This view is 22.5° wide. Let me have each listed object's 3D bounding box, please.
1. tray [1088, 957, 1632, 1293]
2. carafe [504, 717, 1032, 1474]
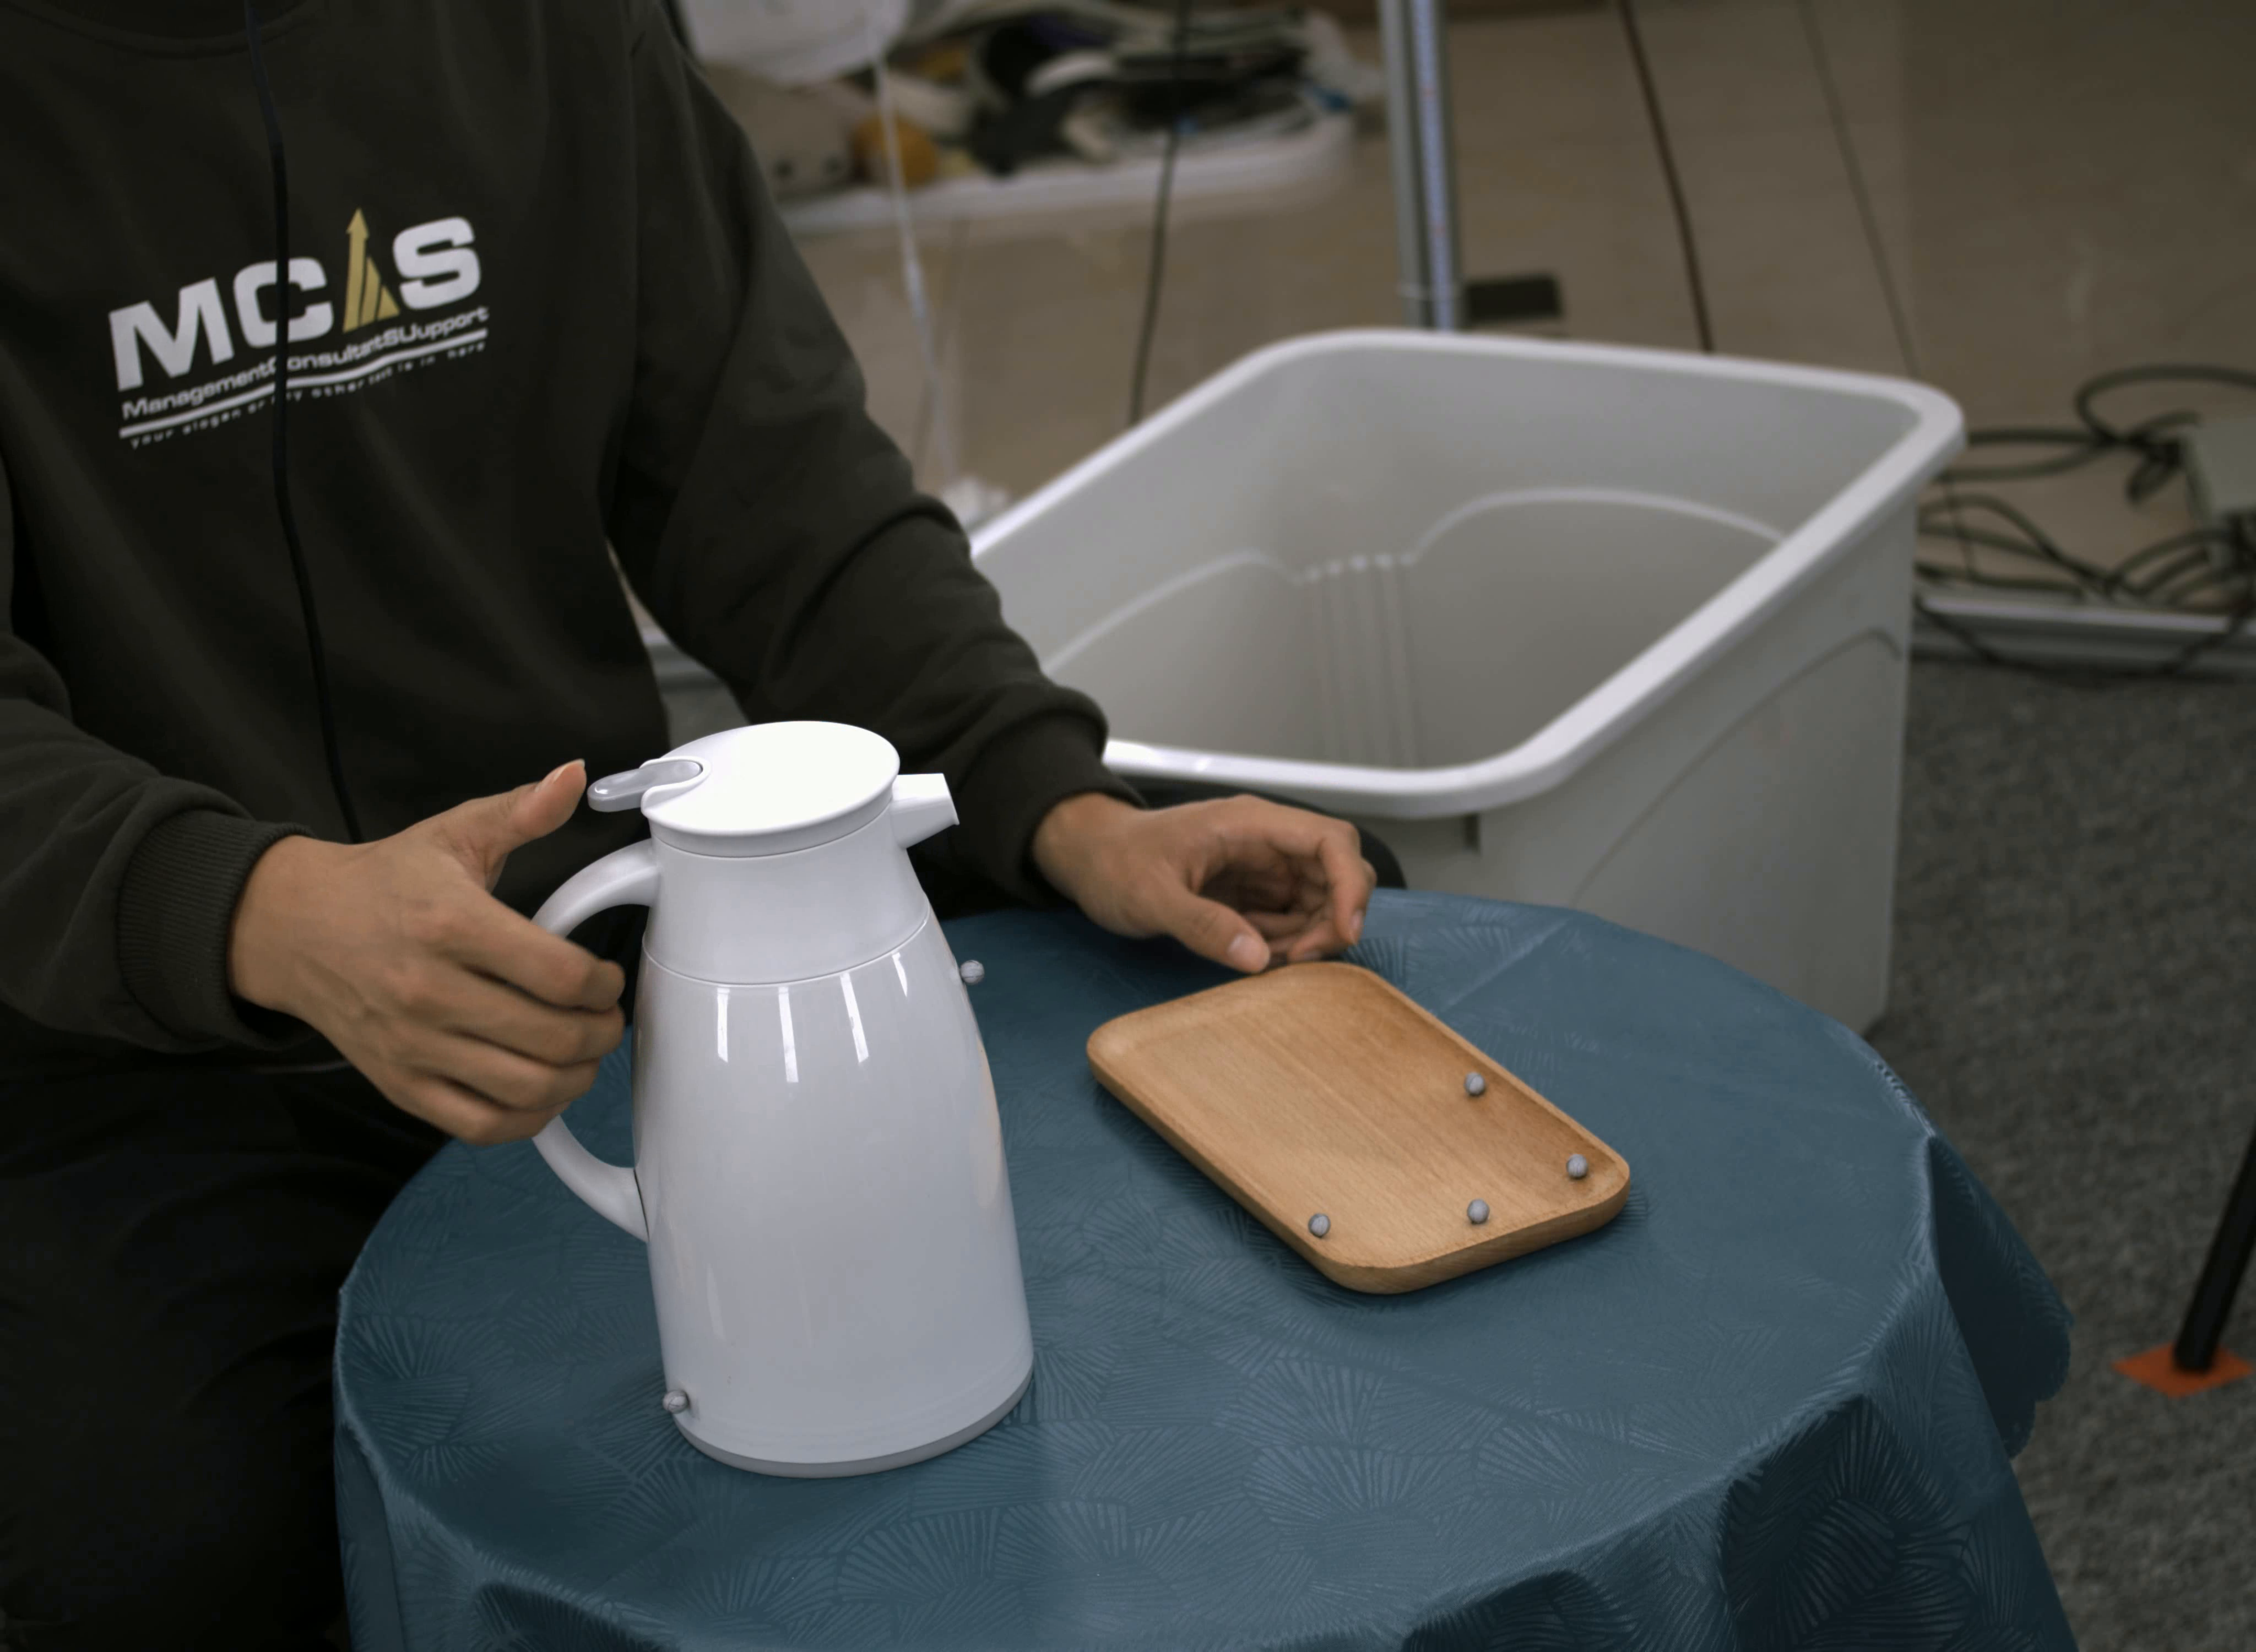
[{"bbox_3d":[0.085,0.112,2.165,0.130,0.023,0.248,-14,25,-21],"label":"tray"},{"bbox_3d":[-0.130,0.091,1.979,0.167,0.252,0.130,-10,26,-7],"label":"carafe"}]
